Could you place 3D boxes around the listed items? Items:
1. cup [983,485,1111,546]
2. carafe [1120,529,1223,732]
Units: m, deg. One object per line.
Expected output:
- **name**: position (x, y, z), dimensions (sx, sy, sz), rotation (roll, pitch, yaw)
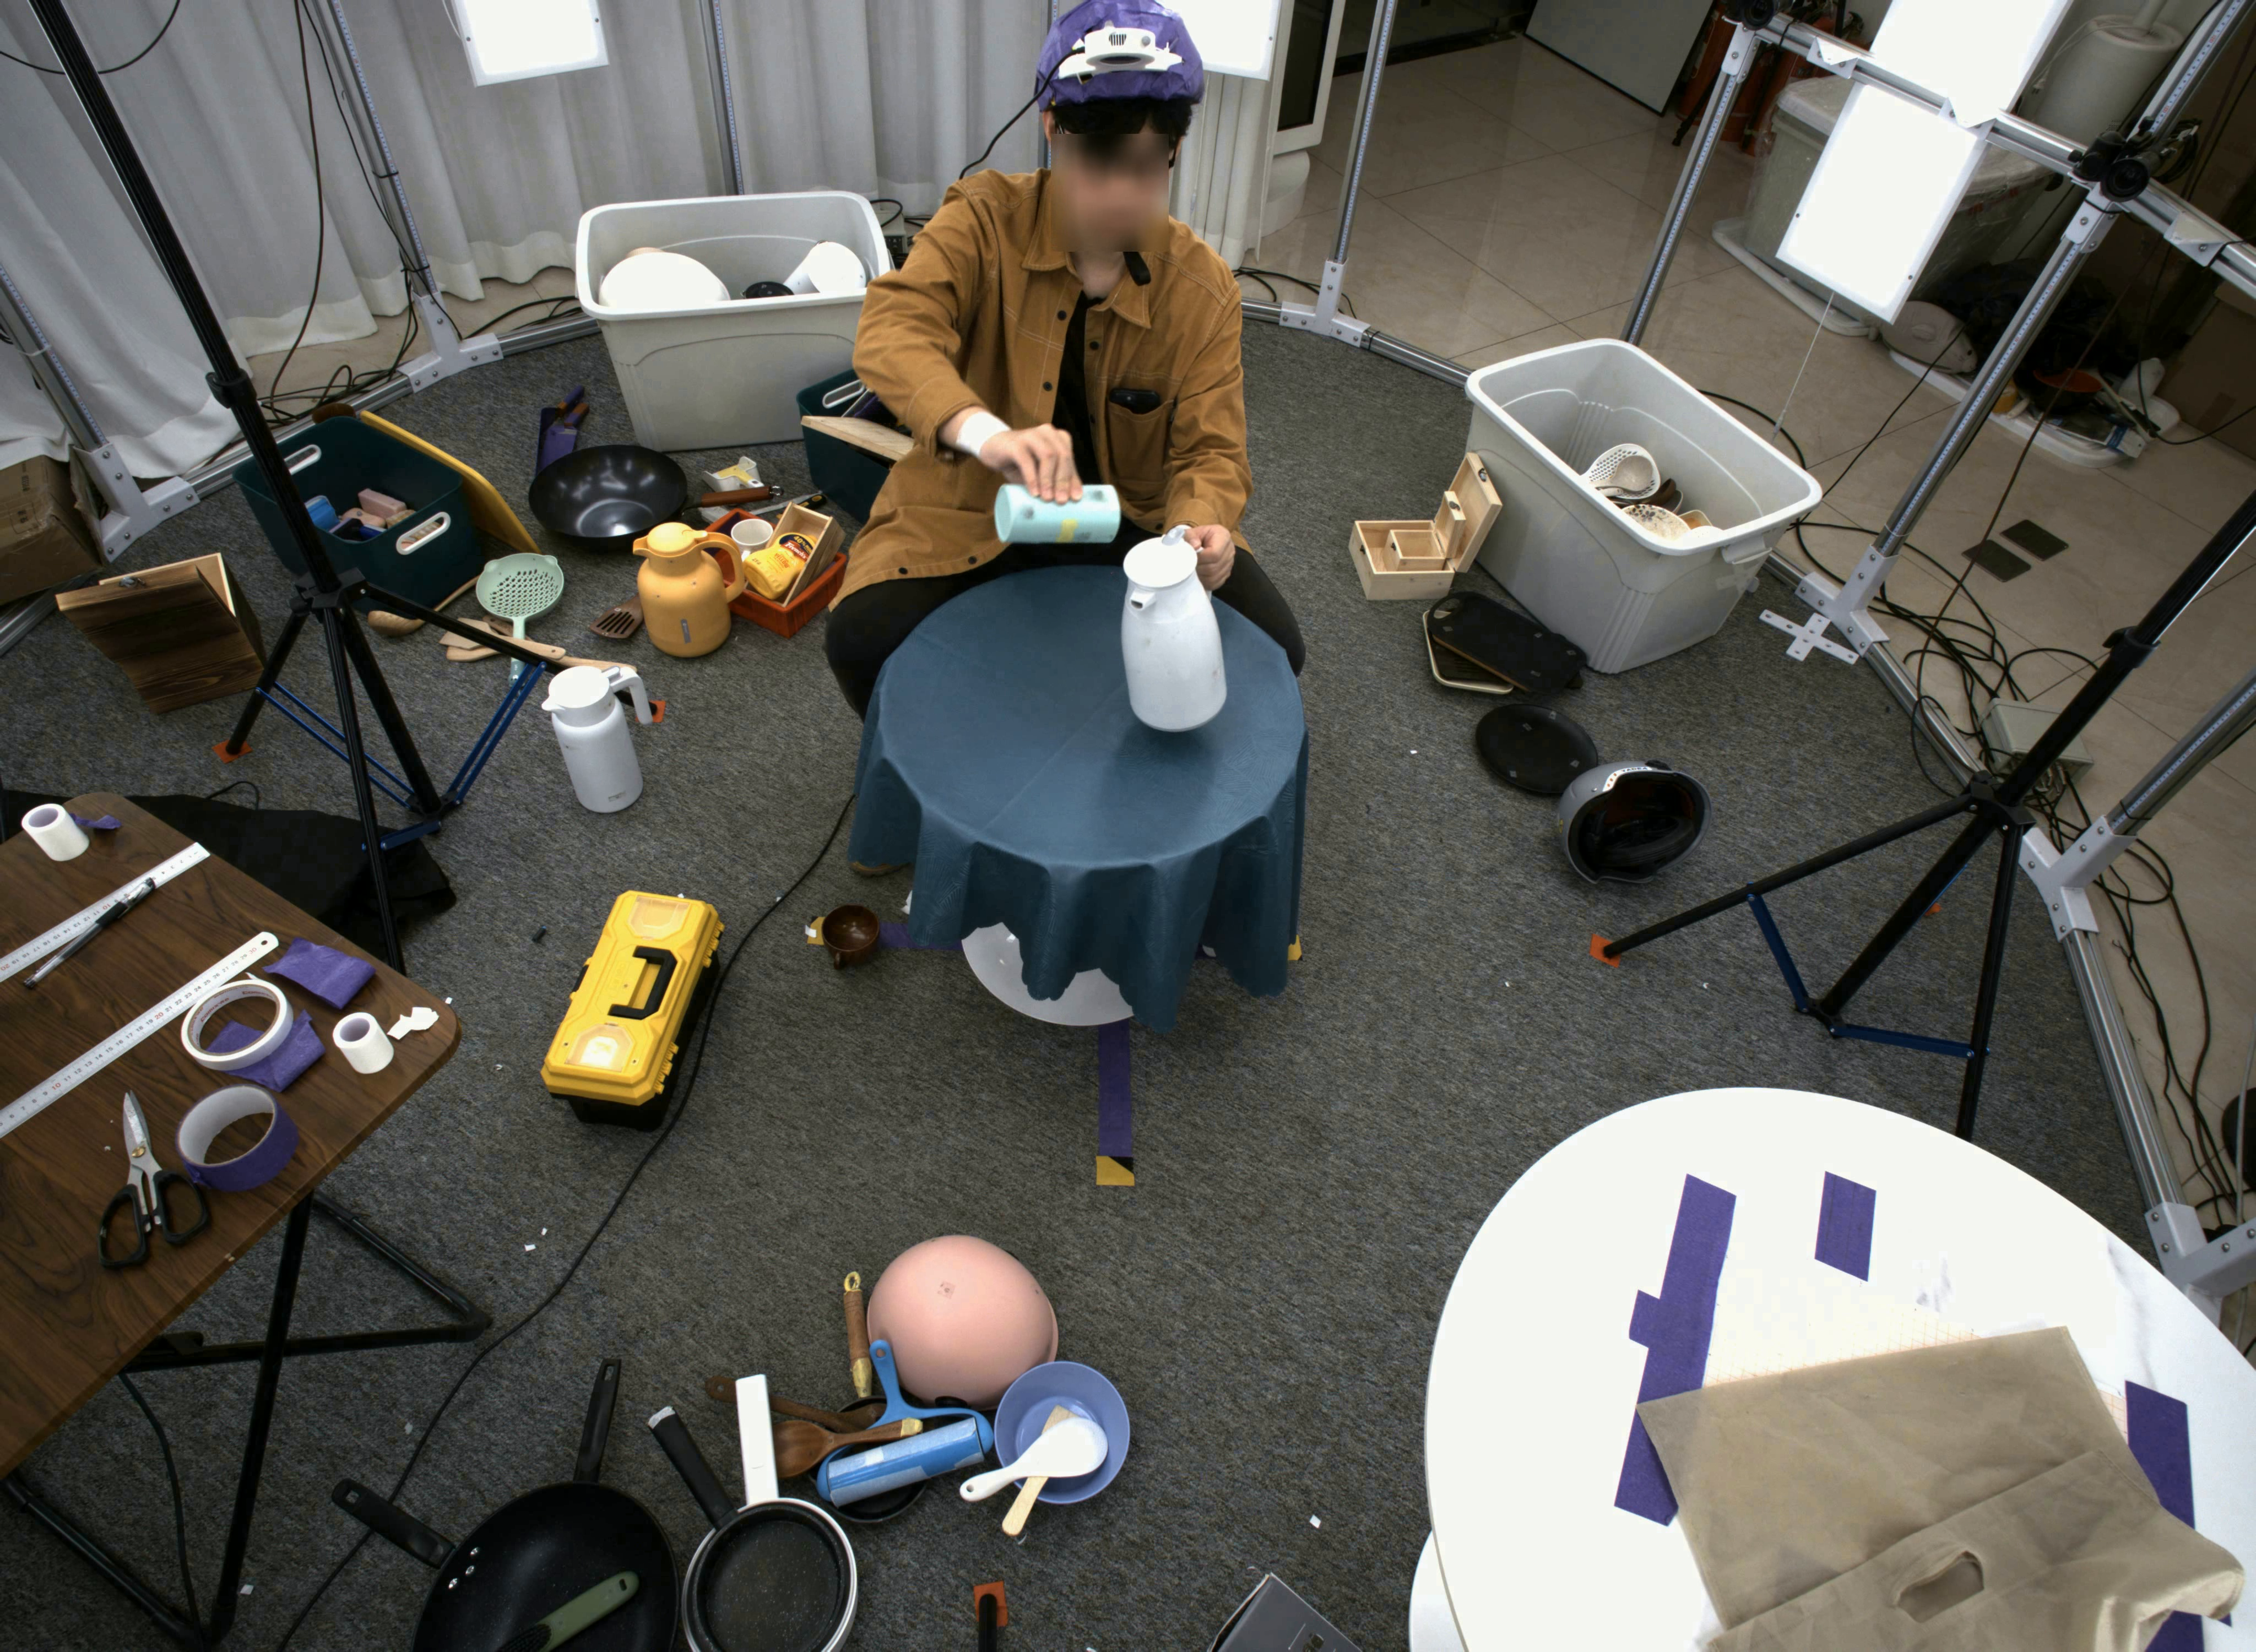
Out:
- **cup**: position (-0.092, -0.353, 1.465), dimensions (0.132, 0.065, 0.068), rotation (-6, 50, -20)
- **carafe**: position (0.061, -0.265, 1.665), dimensions (0.134, 0.242, 0.170), rotation (21, 56, 23)
